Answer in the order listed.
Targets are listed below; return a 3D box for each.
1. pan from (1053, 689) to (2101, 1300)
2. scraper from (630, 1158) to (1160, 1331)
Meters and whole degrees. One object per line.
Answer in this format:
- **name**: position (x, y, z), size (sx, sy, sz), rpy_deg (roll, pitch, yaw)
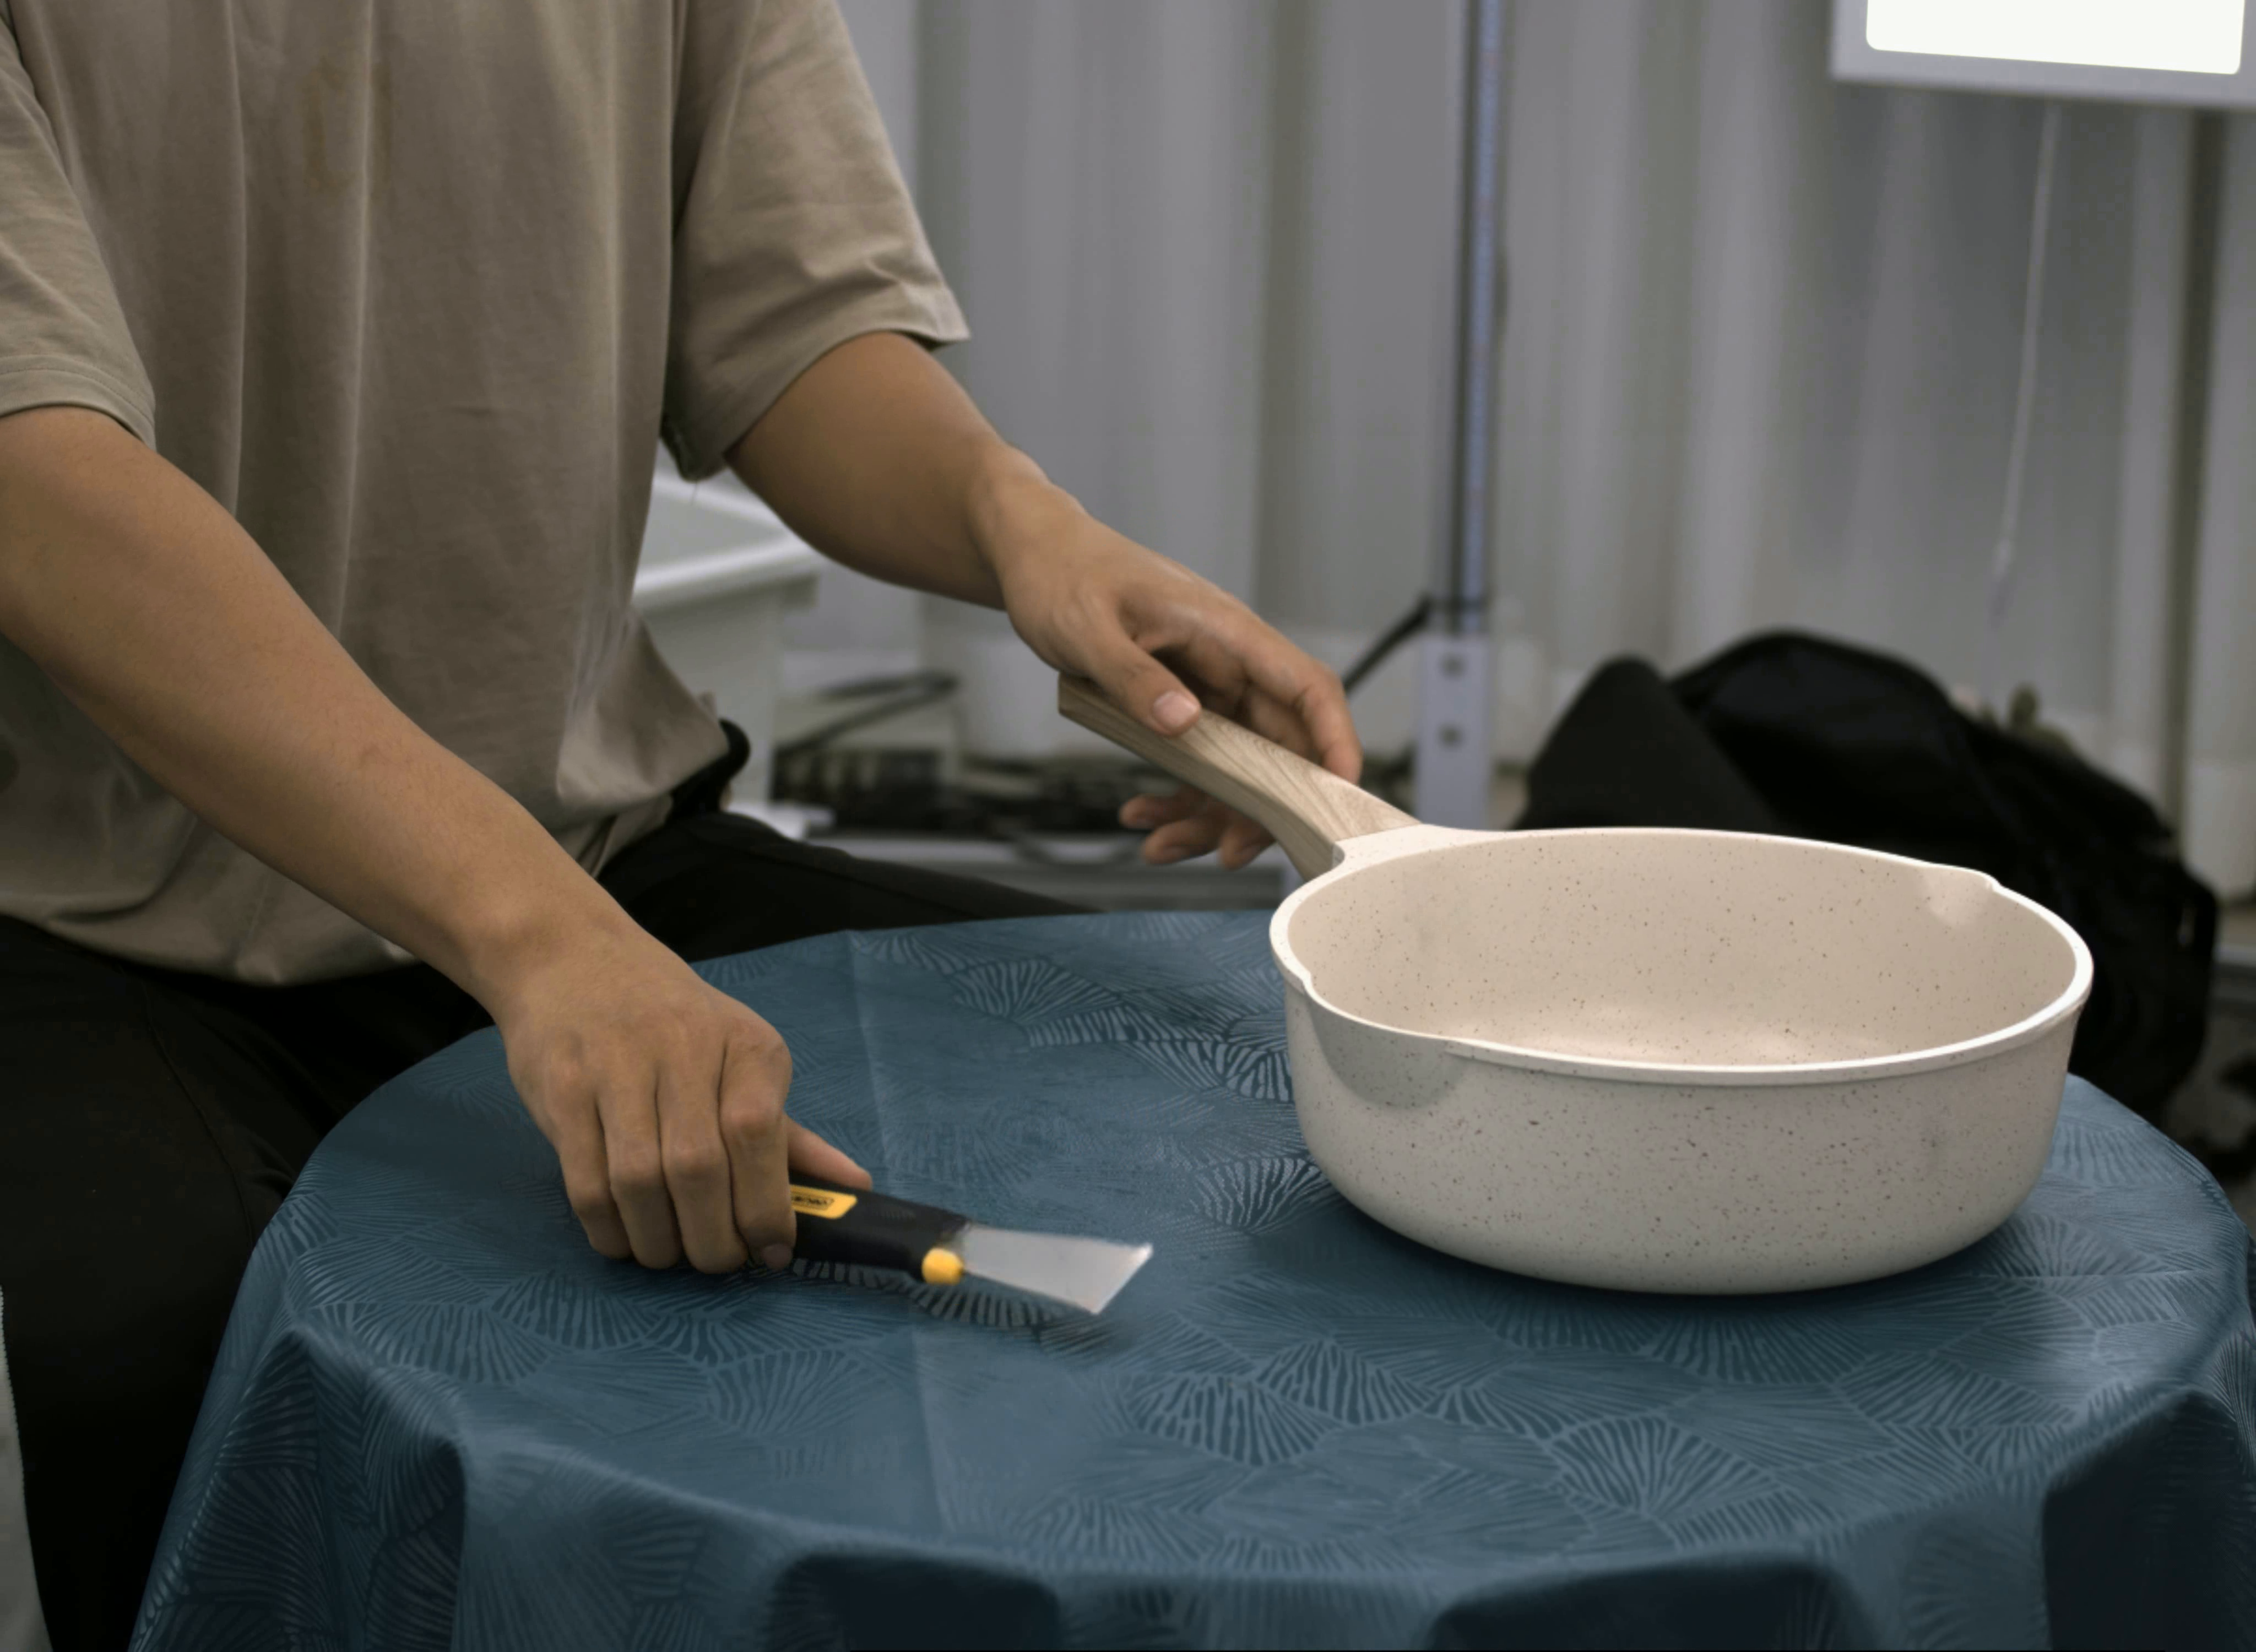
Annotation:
- **pan**: position (0.117, 0.047, 1.694), size (0.264, 0.103, 0.429), rpy_deg (-14, 22, -35)
- **scraper**: position (-0.072, 0.121, 1.535), size (0.169, 0.015, 0.039), rpy_deg (9, 39, 27)
